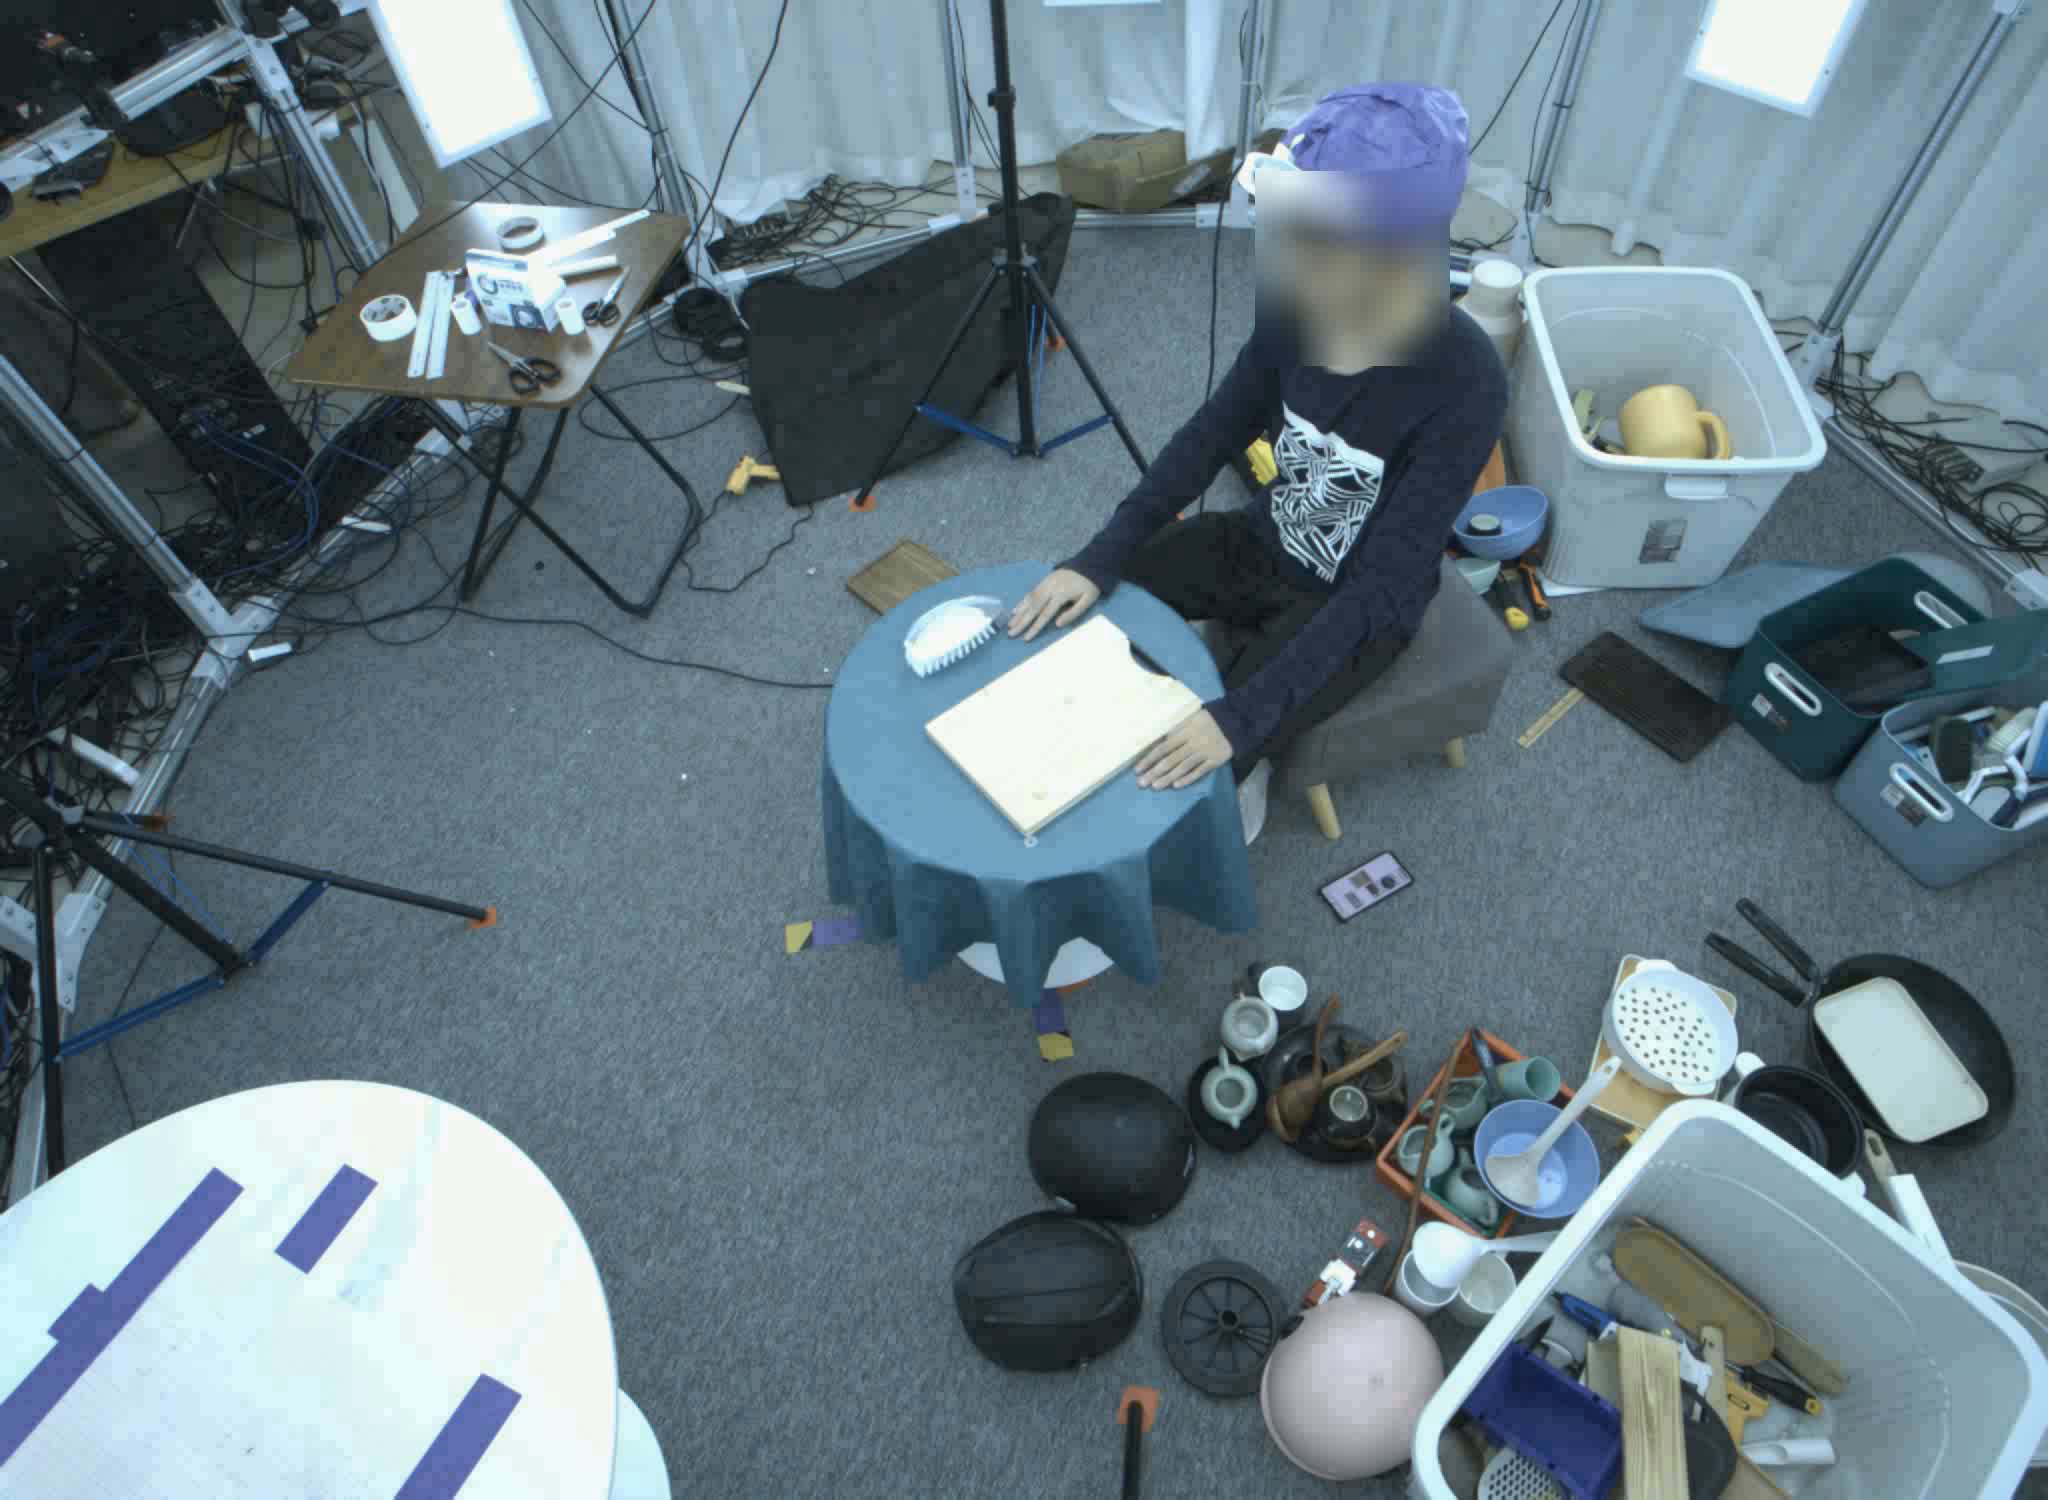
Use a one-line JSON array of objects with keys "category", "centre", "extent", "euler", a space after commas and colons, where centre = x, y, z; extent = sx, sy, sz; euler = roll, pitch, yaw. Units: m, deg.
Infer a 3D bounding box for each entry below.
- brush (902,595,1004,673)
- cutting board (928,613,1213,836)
[{"category": "brush", "centre": [-0.105, -0.194, 1.865], "extent": [0.177, 0.095, 0.060], "euler": [-28, 59, -19]}, {"category": "cutting board", "centre": [0.066, -0.047, 1.802], "extent": [0.351, 0.024, 0.246], "euler": [-35, 61, -21]}]
